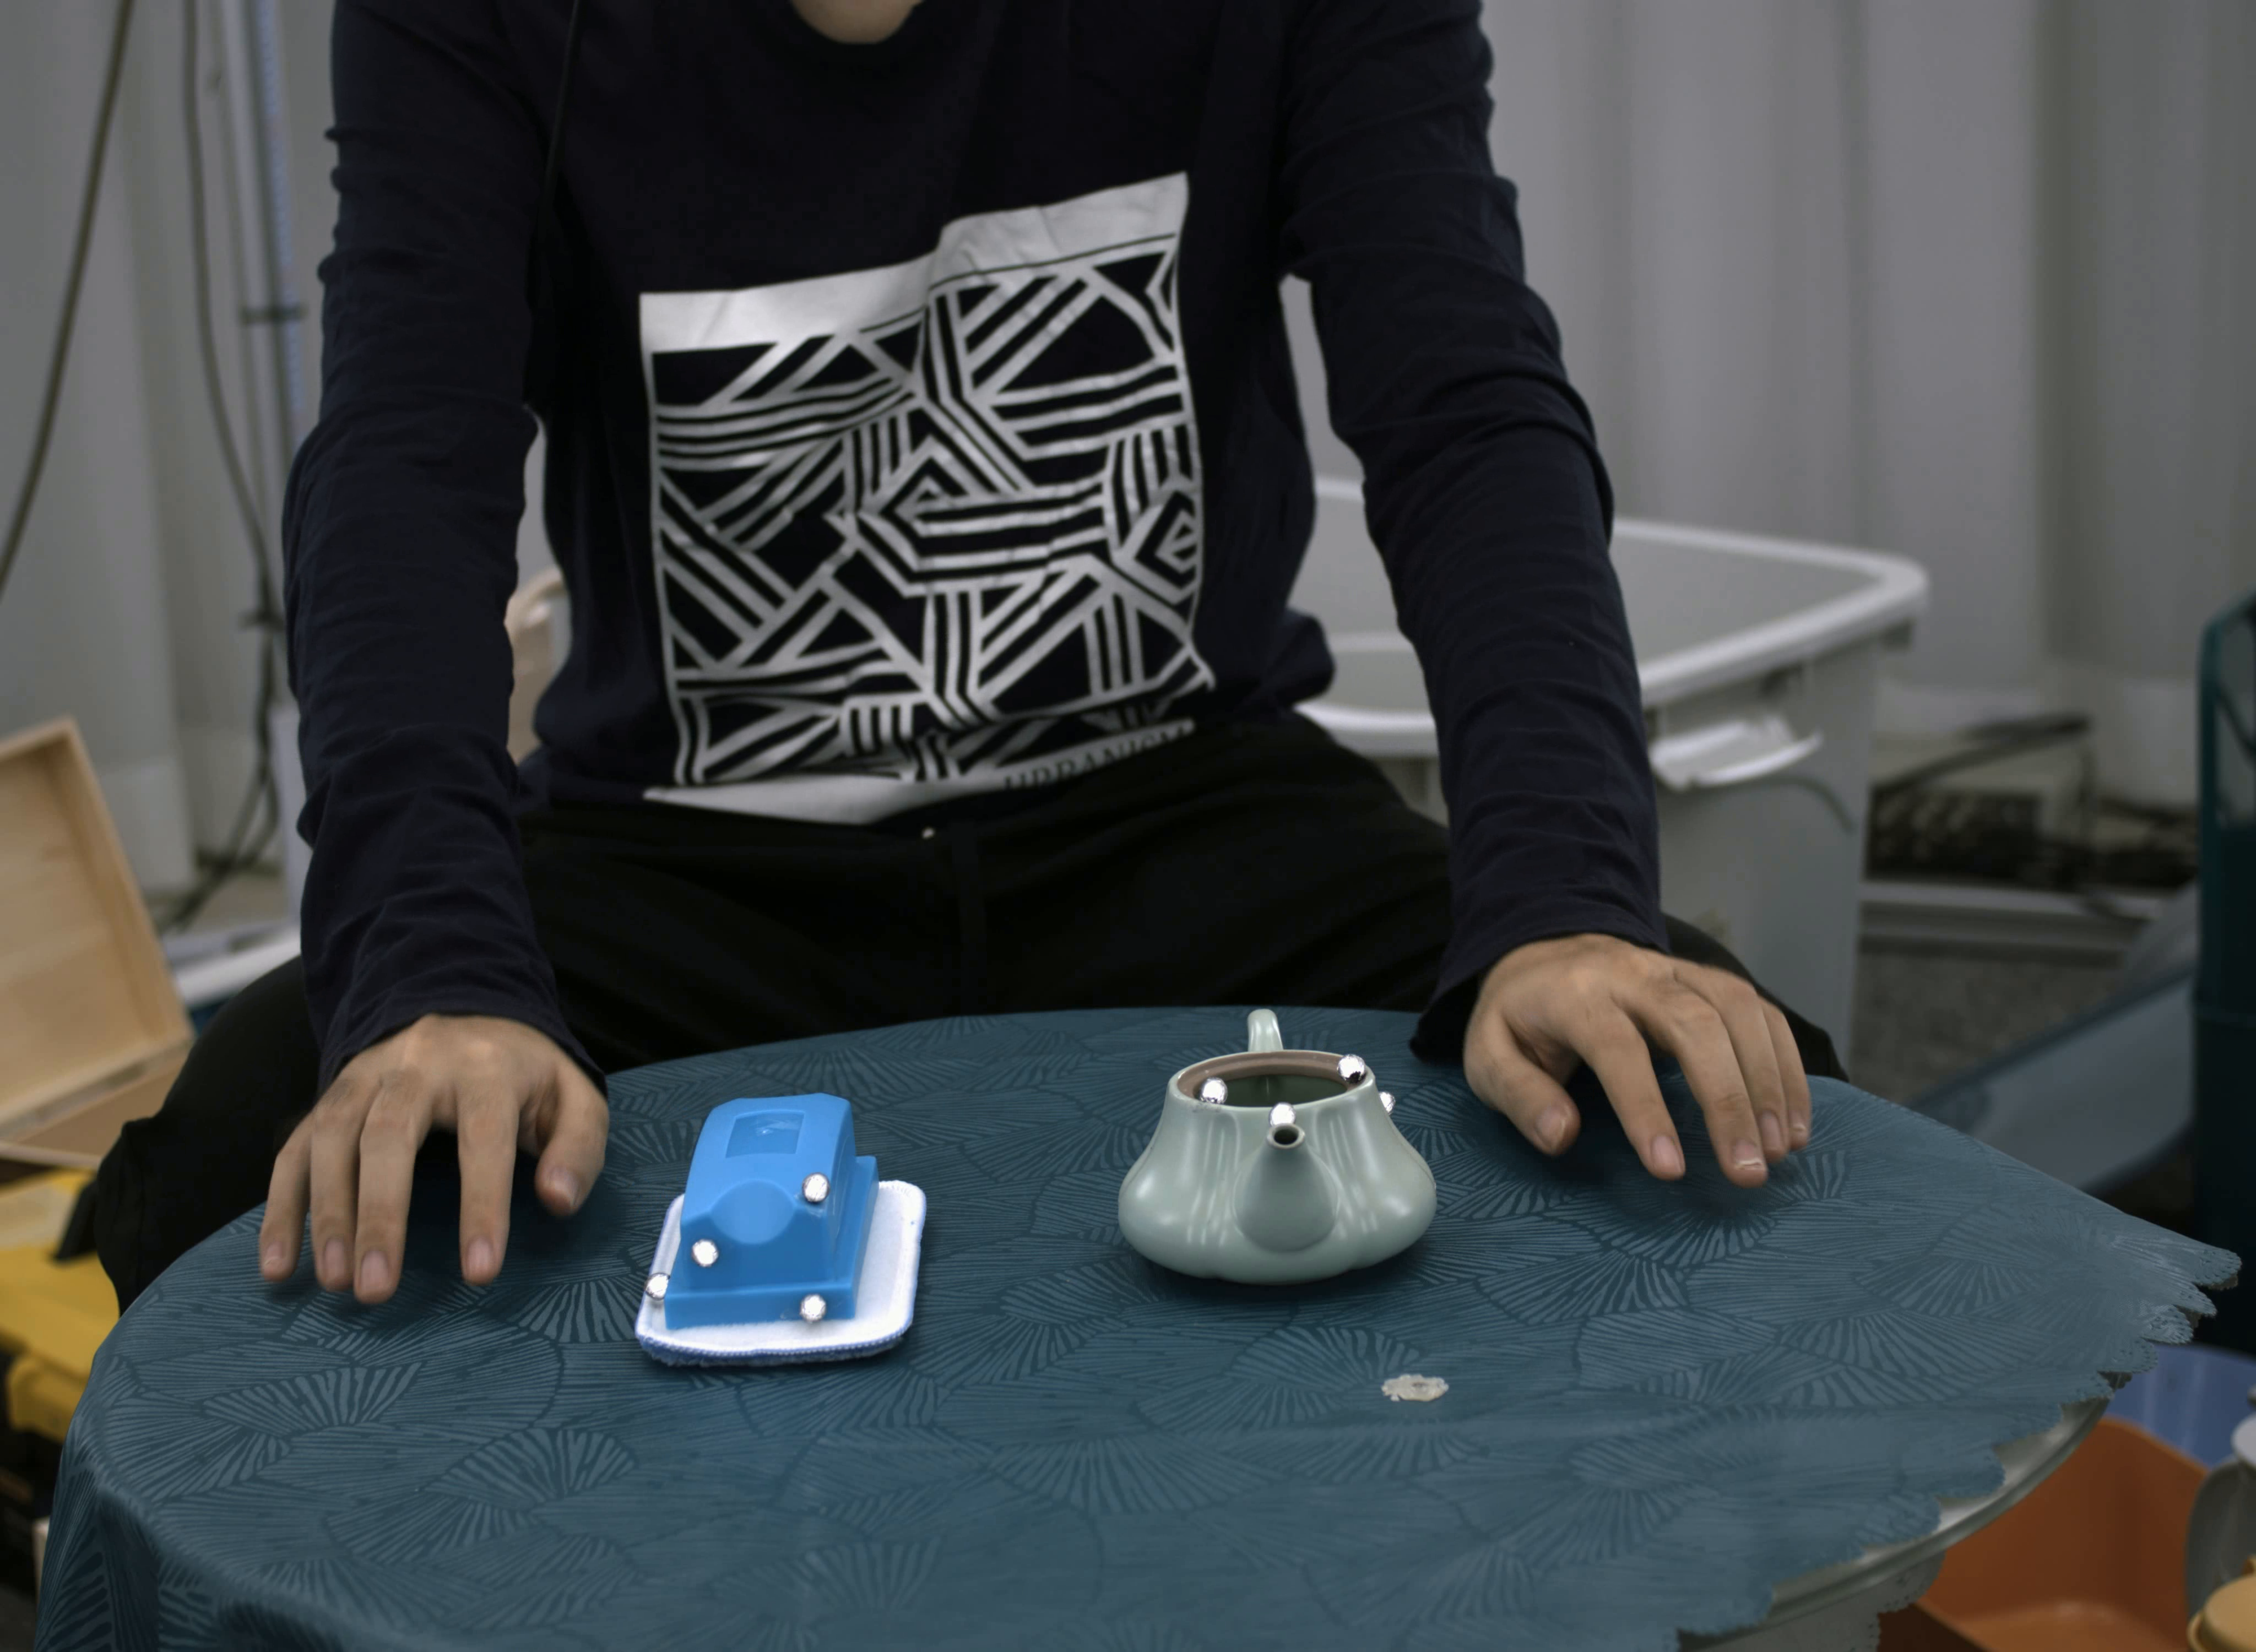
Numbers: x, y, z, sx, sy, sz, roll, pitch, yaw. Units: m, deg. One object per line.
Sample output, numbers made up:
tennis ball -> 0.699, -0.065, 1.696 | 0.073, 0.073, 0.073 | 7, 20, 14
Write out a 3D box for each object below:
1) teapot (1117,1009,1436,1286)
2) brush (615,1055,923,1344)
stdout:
teapot -> 0.043, 0.100, 1.647 | 0.096, 0.061, 0.138 | -5, 15, -3
brush -> -0.107, 0.109, 1.639 | 0.083, 0.055, 0.145 | 0, 18, 2
